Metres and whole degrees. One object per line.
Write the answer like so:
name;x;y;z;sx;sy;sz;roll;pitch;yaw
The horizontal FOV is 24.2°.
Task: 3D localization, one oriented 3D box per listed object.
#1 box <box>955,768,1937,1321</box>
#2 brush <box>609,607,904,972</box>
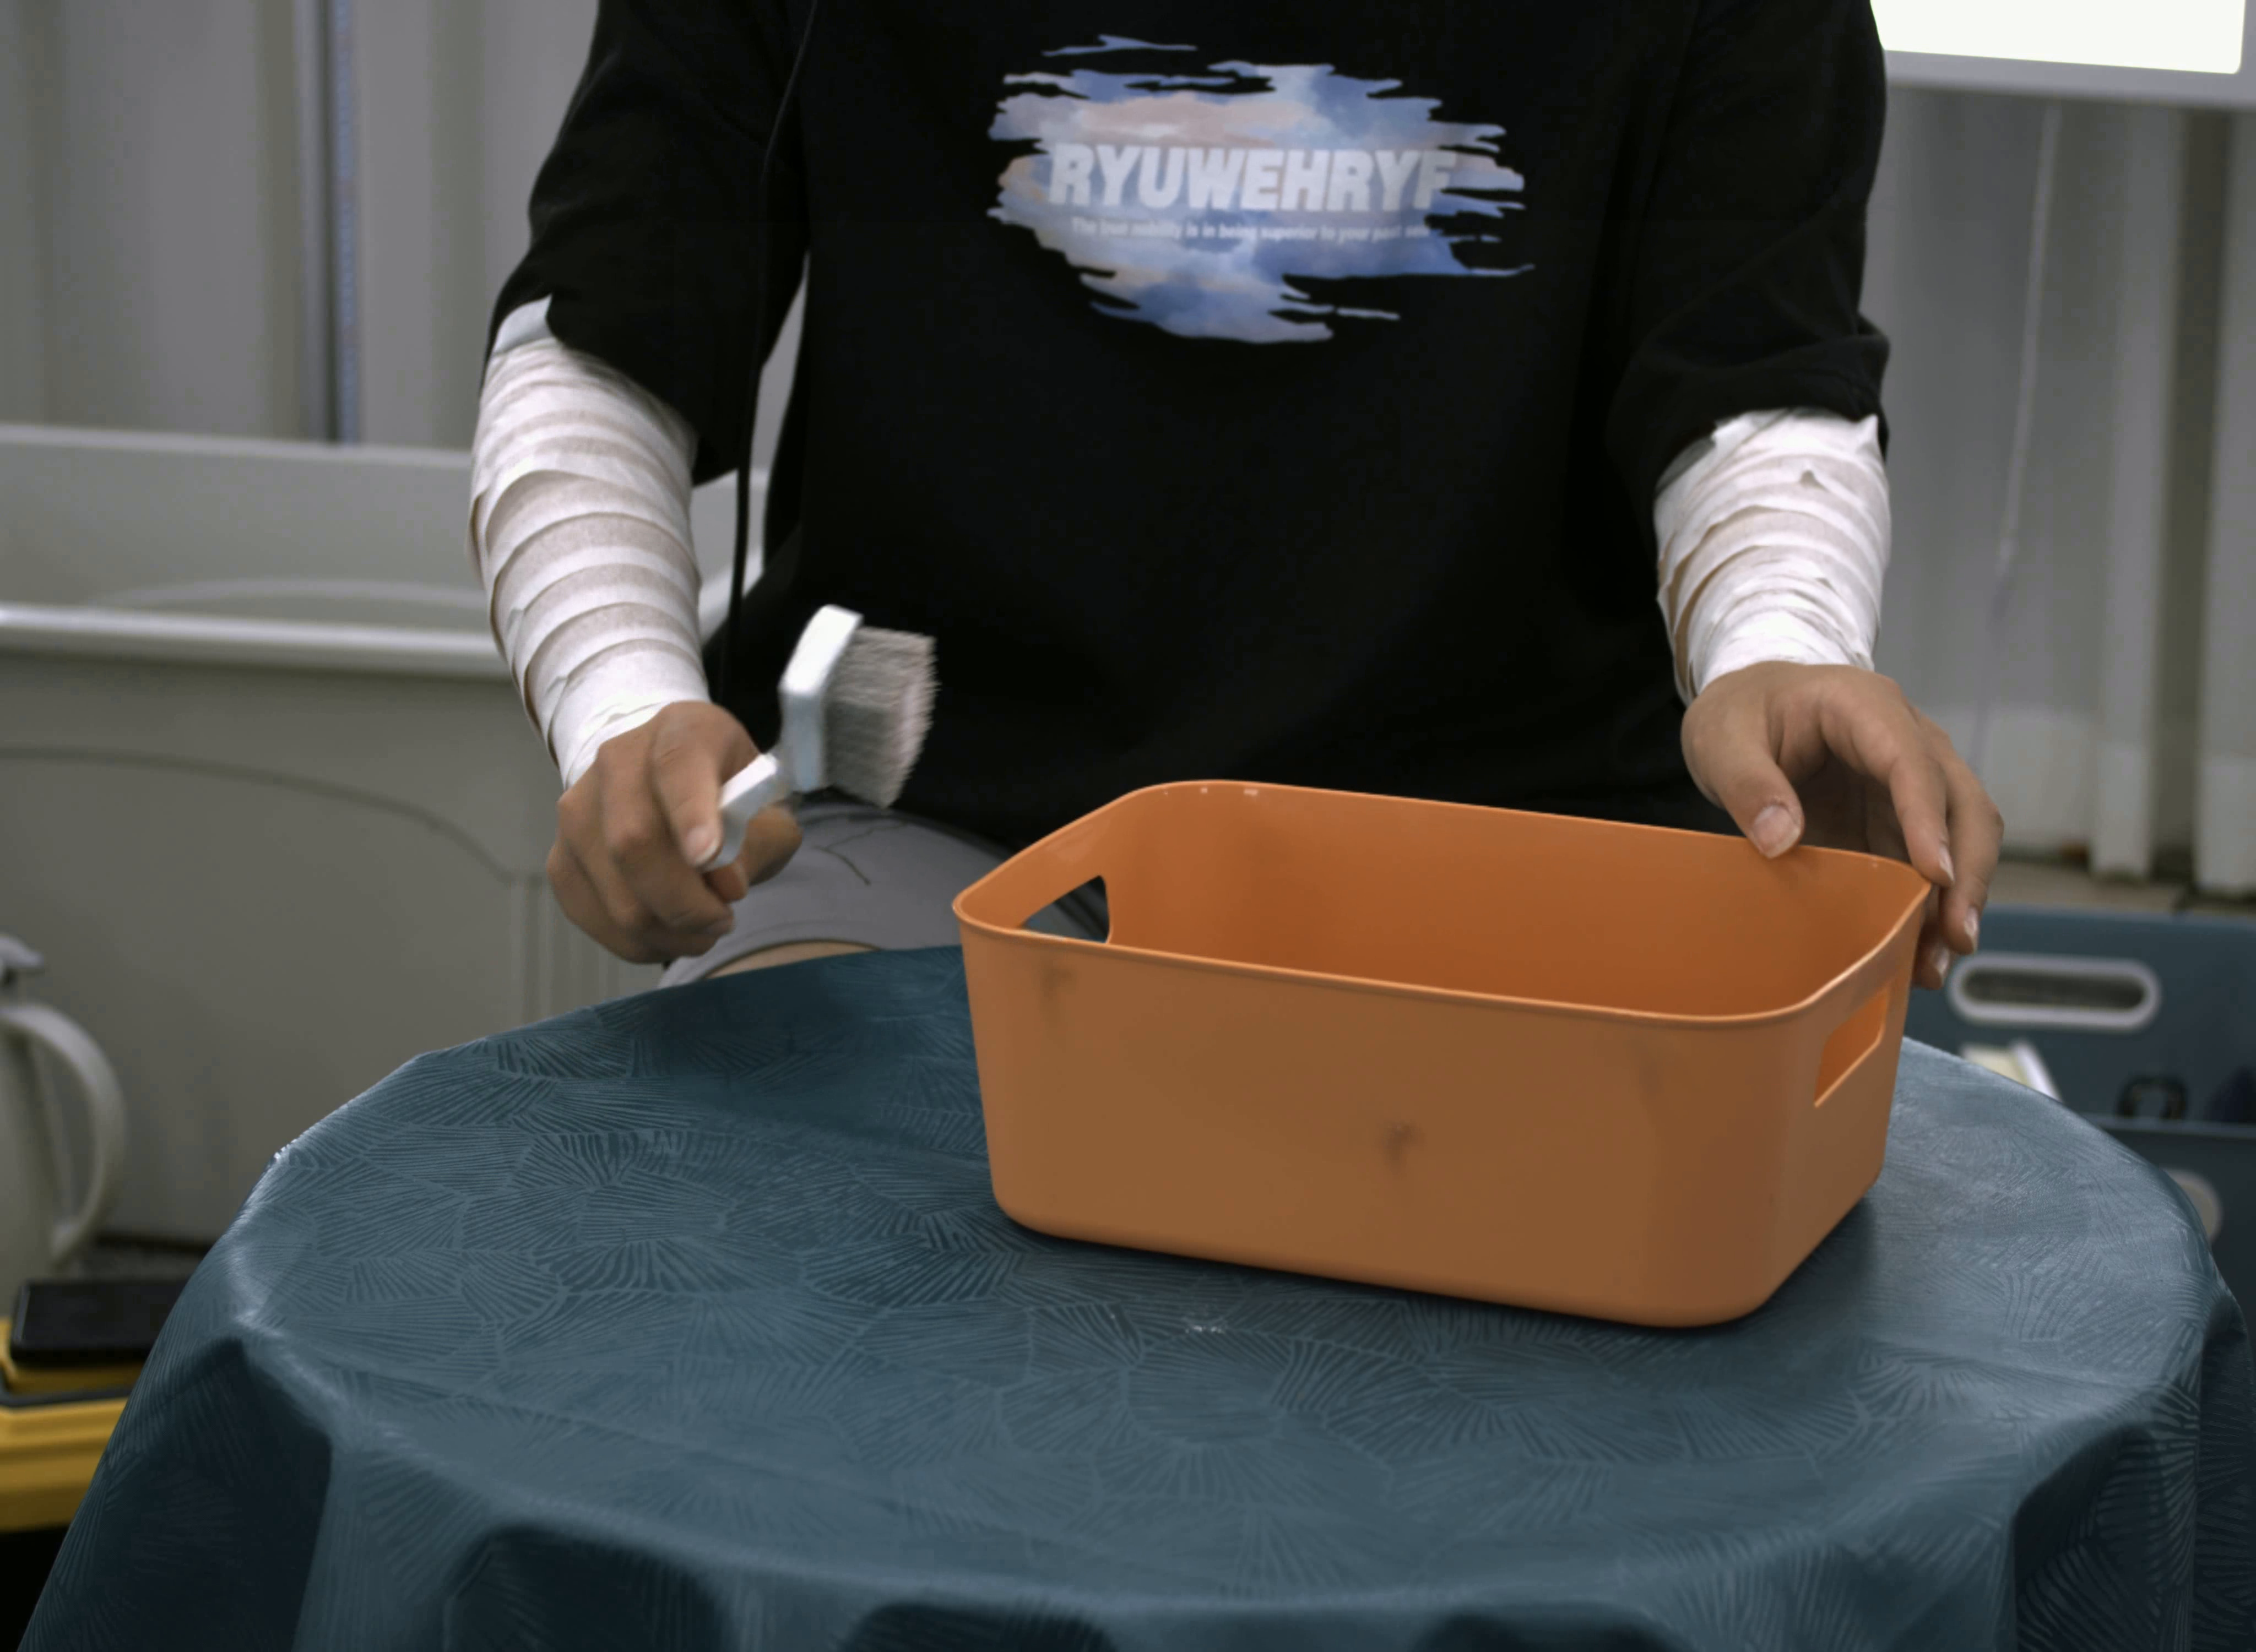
box;0.097;0.064;1.601;0.270;0.103;0.199;7;18;21
brush;-0.116;0.000;1.669;0.050;0.244;0.034;25;60;-6
